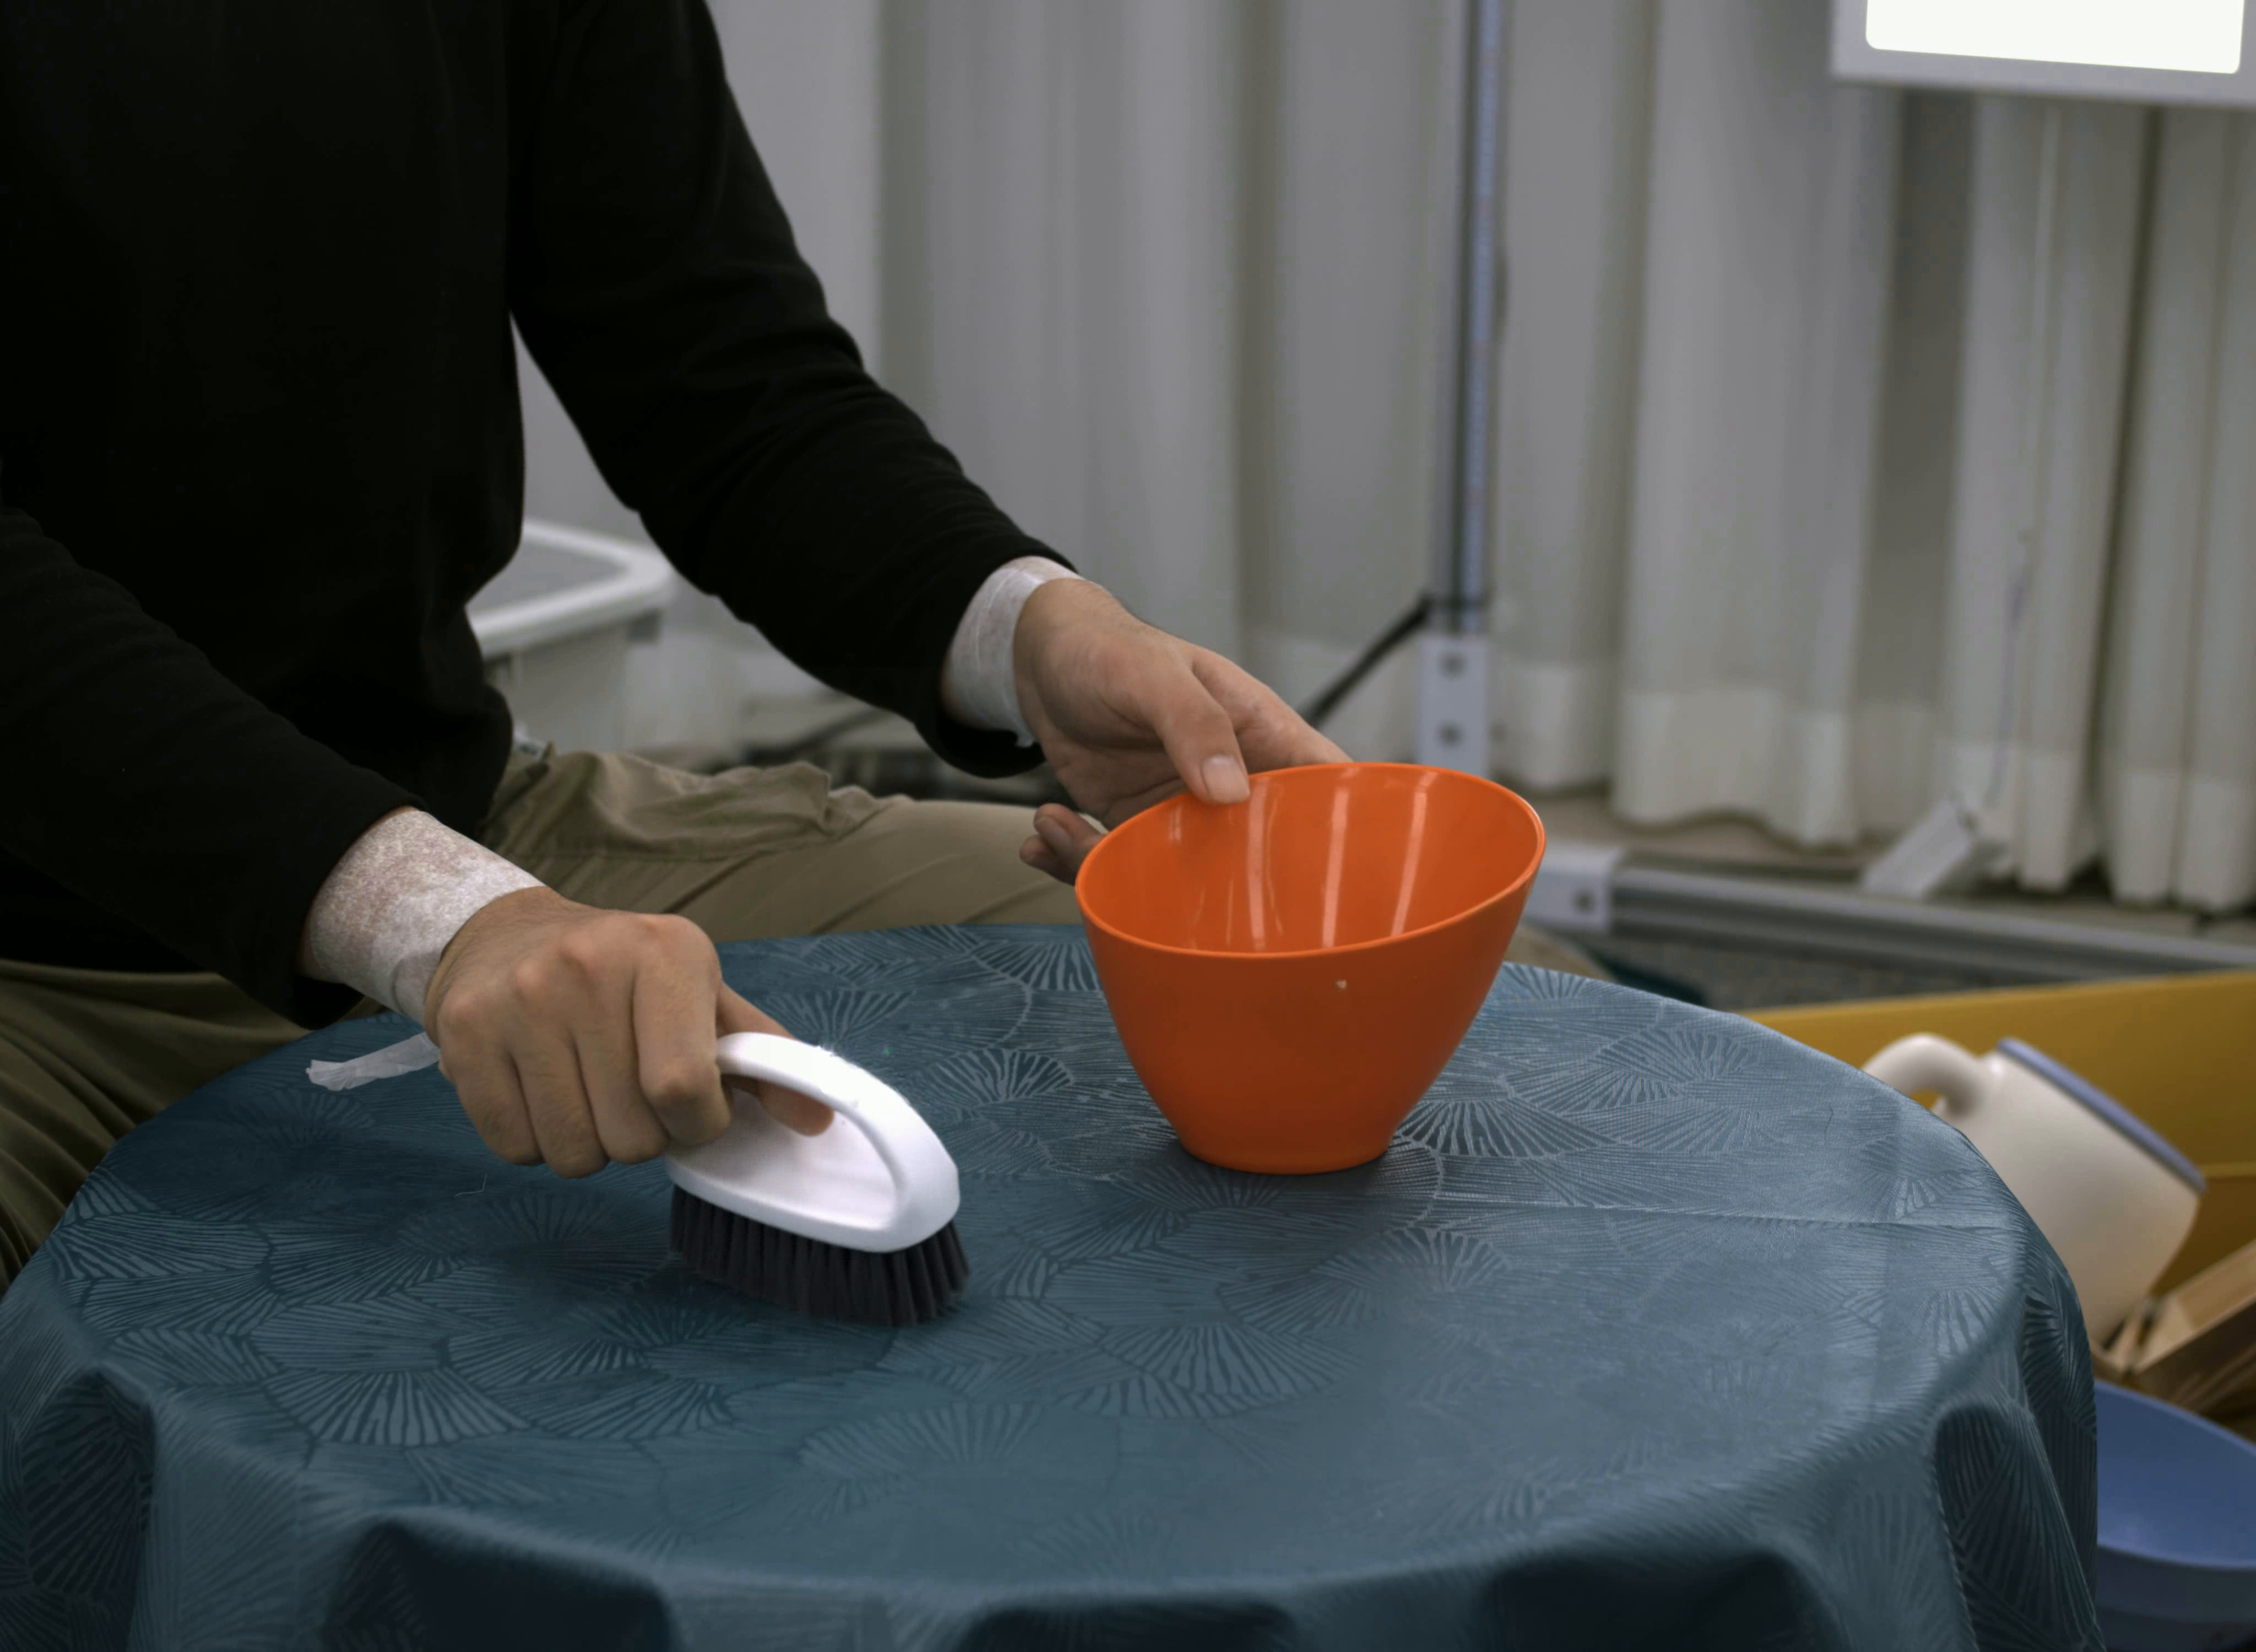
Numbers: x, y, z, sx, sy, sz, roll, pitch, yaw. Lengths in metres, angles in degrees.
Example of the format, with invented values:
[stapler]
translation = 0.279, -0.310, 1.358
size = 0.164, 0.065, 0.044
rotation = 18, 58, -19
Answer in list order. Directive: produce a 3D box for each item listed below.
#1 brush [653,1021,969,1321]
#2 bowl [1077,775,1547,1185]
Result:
[brush]
translation = -0.094, 0.092, 1.517
size = 0.098, 0.073, 0.050
rotation = 18, 41, 33
[bowl]
translation = 0.058, 0.051, 1.659
size = 0.147, 0.105, 0.147
rotation = -1, 16, 1
